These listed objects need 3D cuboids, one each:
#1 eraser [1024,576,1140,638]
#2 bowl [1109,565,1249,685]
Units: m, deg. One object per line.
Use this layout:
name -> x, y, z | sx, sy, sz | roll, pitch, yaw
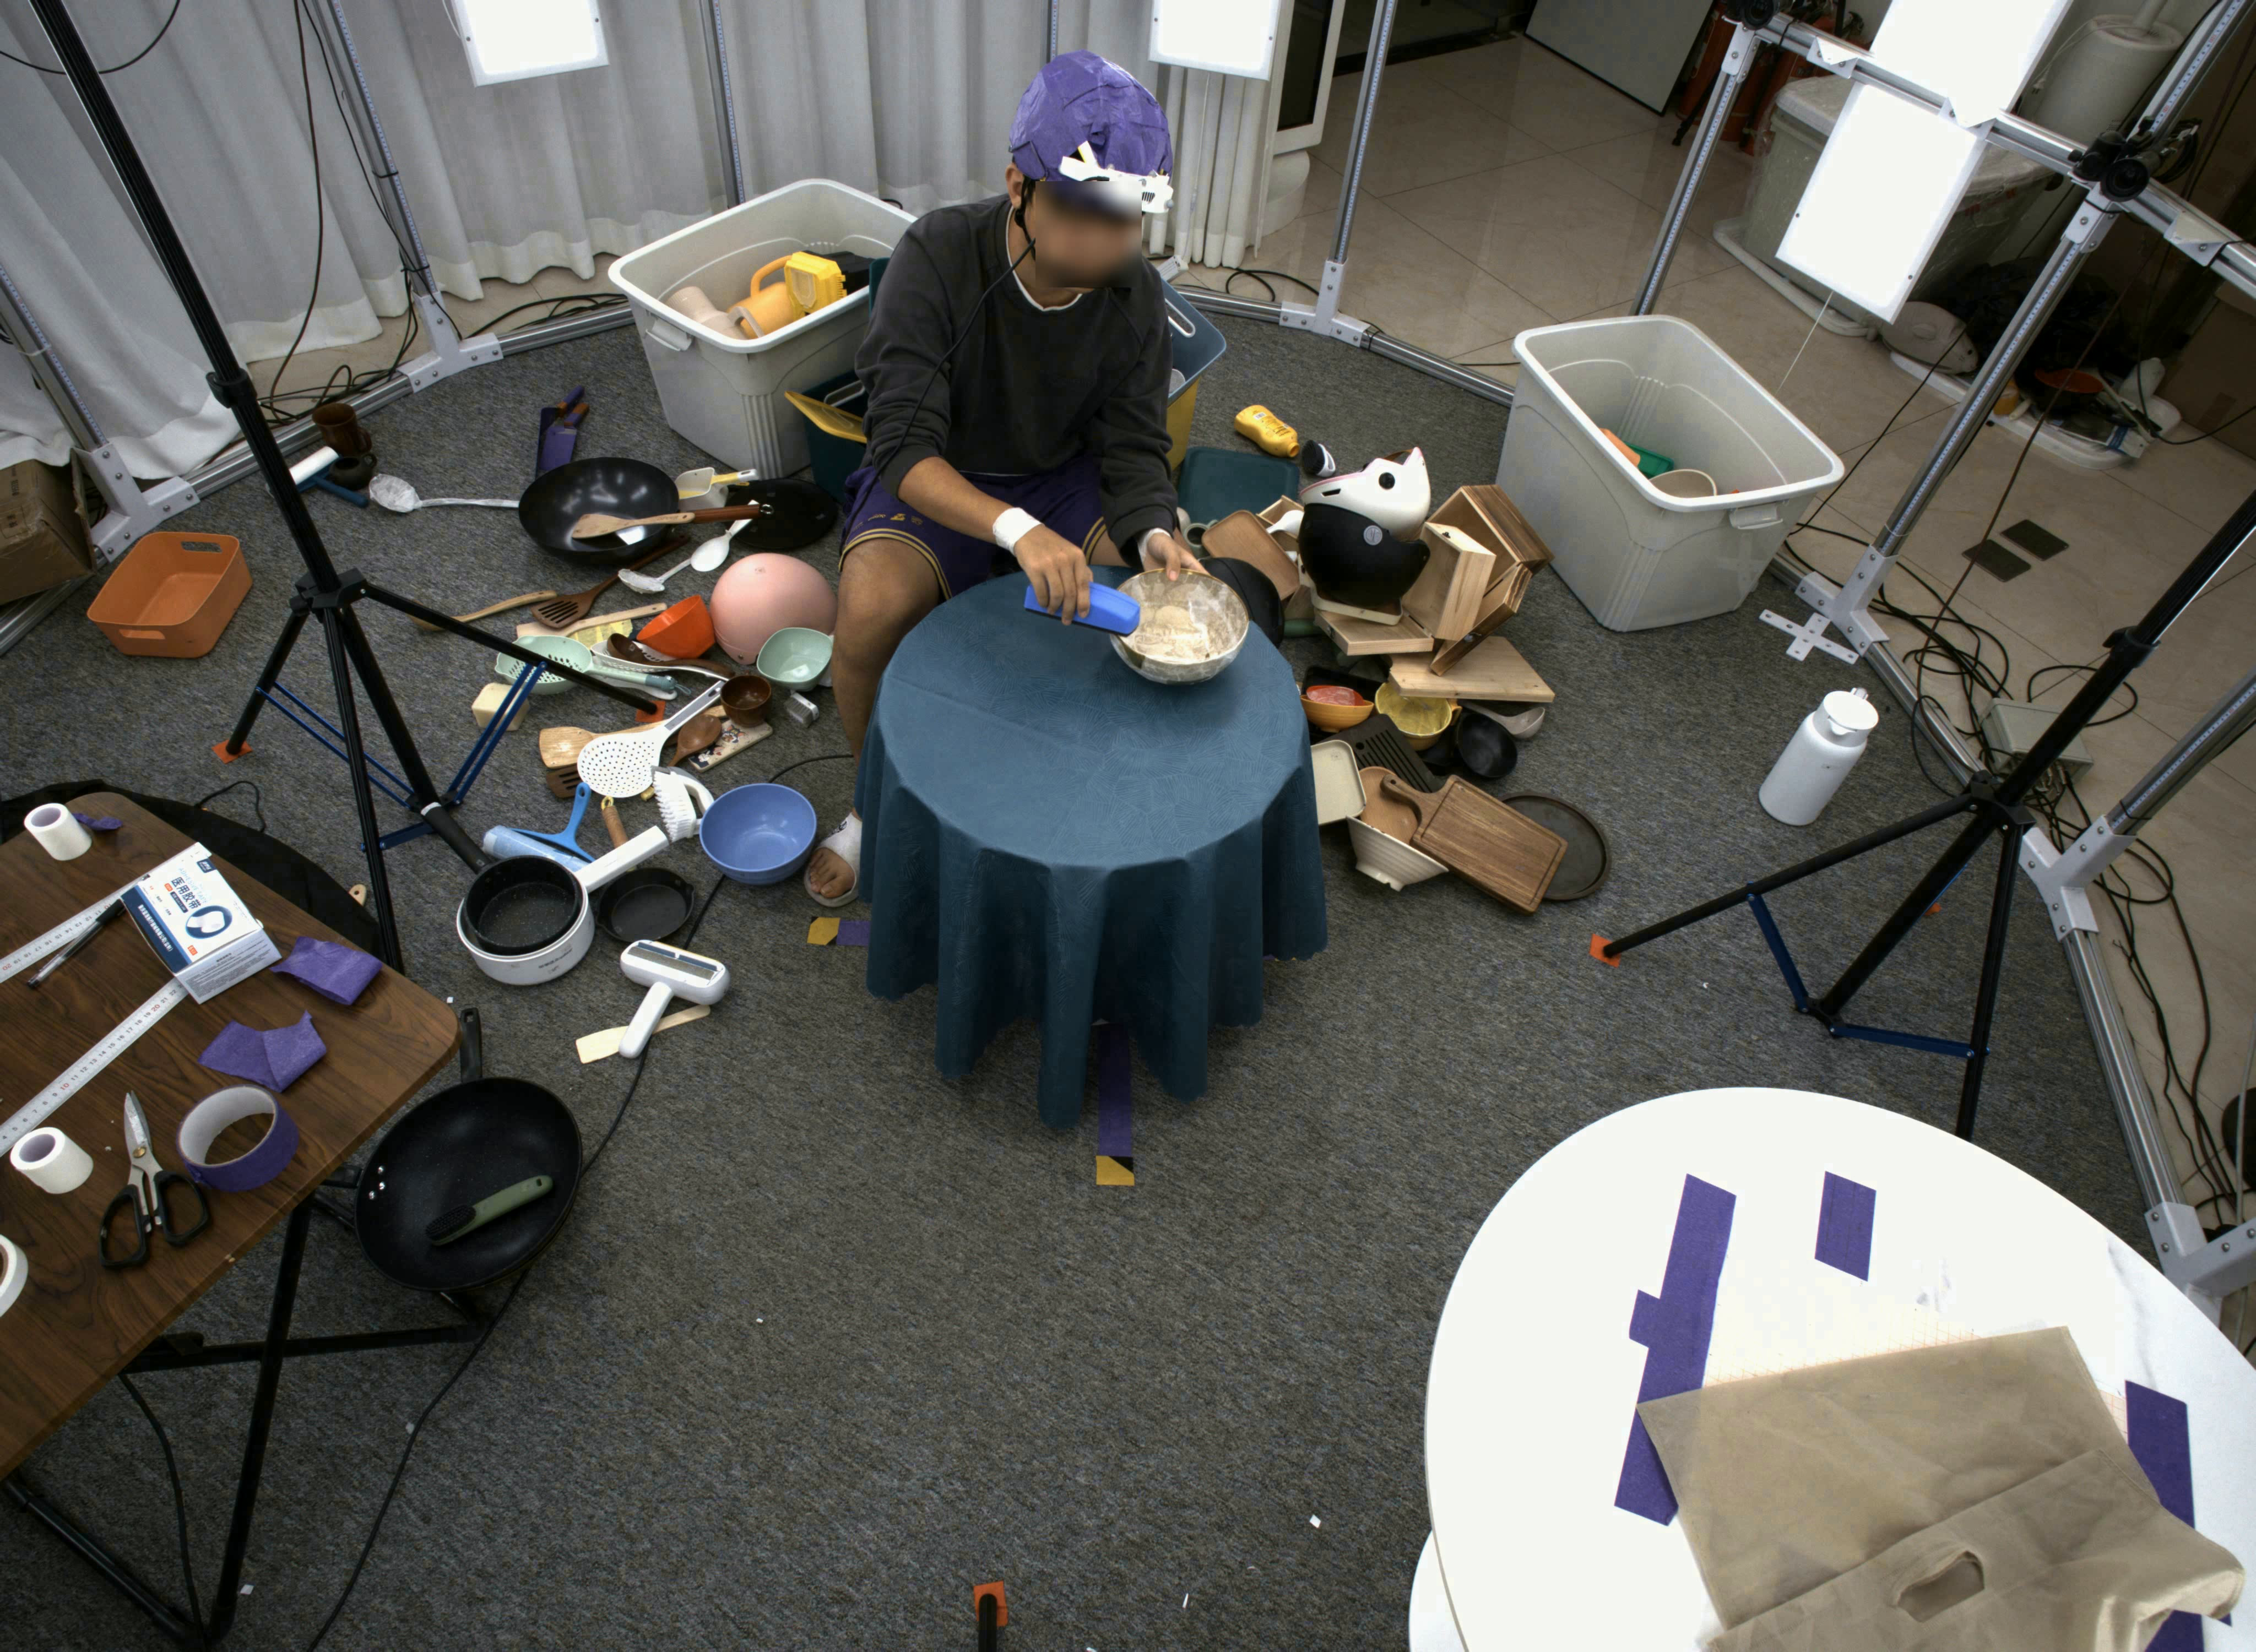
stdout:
eraser -> -0.063, -0.309, 1.785 | 0.163, 0.046, 0.055 | 16, 44, 12
bowl -> 0.068, -0.275, 1.850 | 0.214, 0.092, 0.220 | 1, 50, -1
